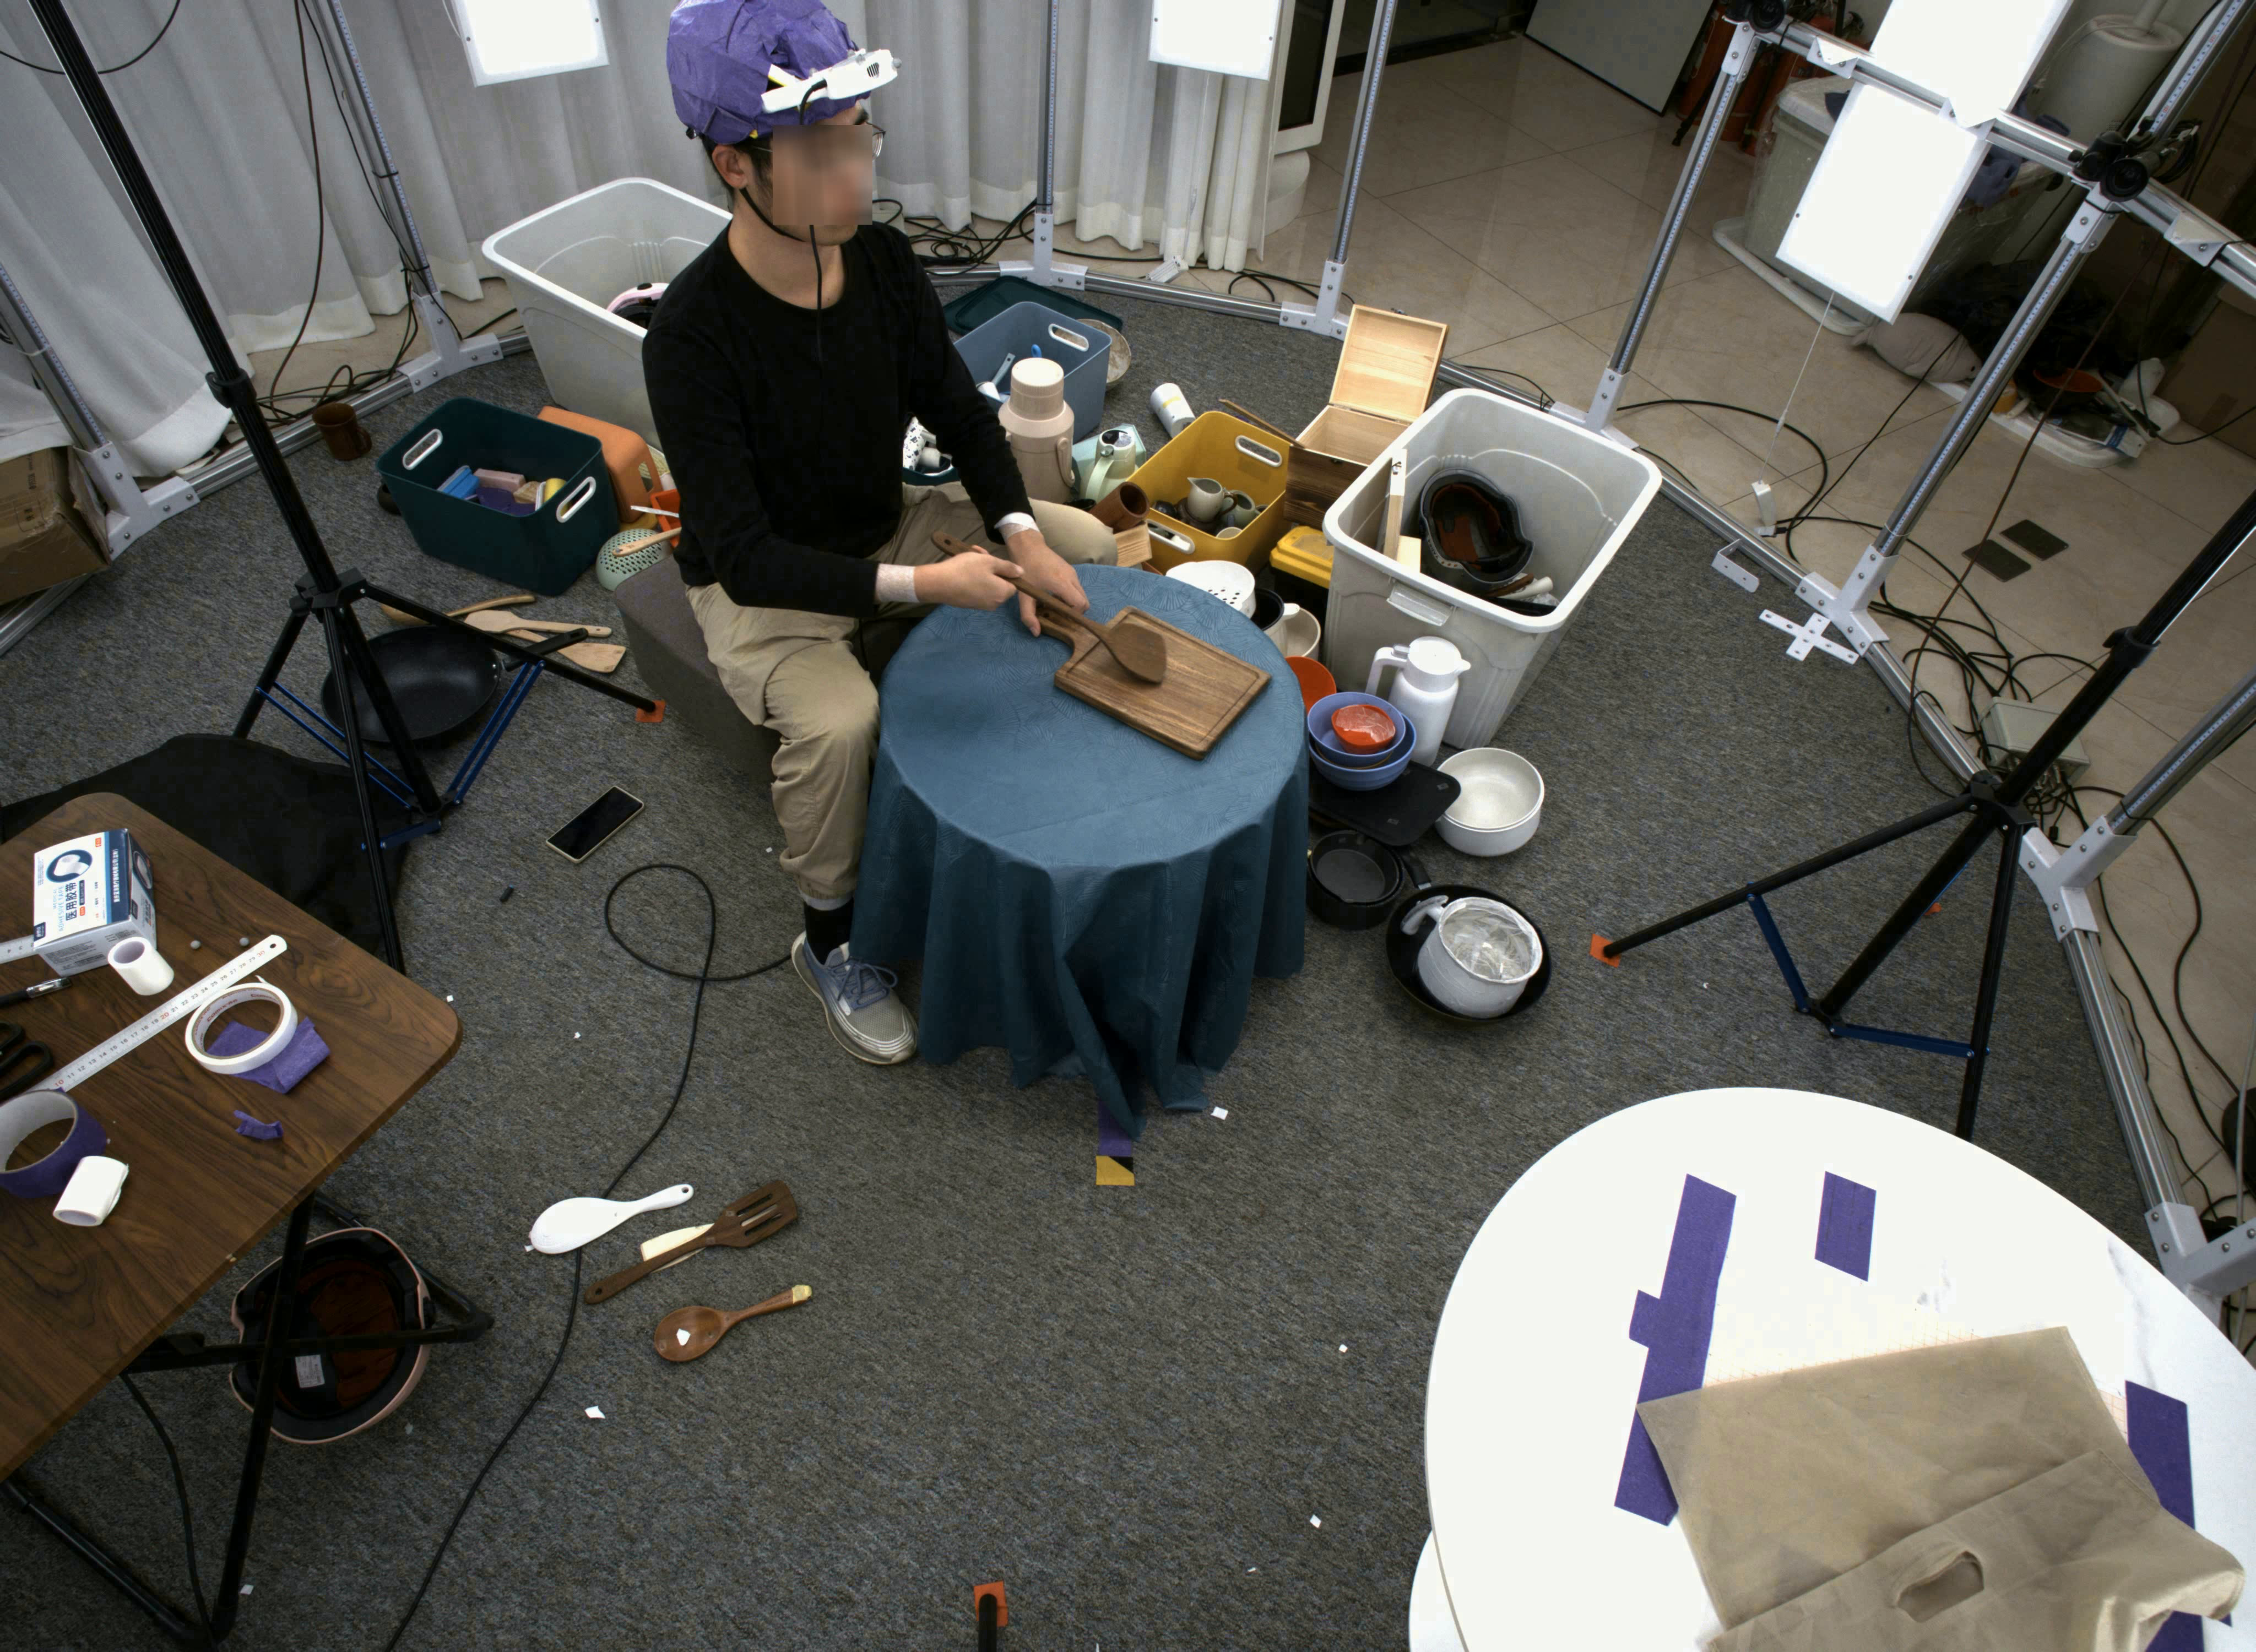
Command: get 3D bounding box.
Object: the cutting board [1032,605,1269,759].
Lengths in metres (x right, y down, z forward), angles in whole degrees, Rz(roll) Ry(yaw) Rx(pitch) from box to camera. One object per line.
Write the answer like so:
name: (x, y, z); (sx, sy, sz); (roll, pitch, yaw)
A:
cutting board: (0.009, -0.235, 1.859); (0.355, 0.022, 0.204); (29, 53, 19)

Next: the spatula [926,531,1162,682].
spatula: (-0.107, -0.308, 1.775); (0.381, 0.015, 0.098); (26, 48, -26)
